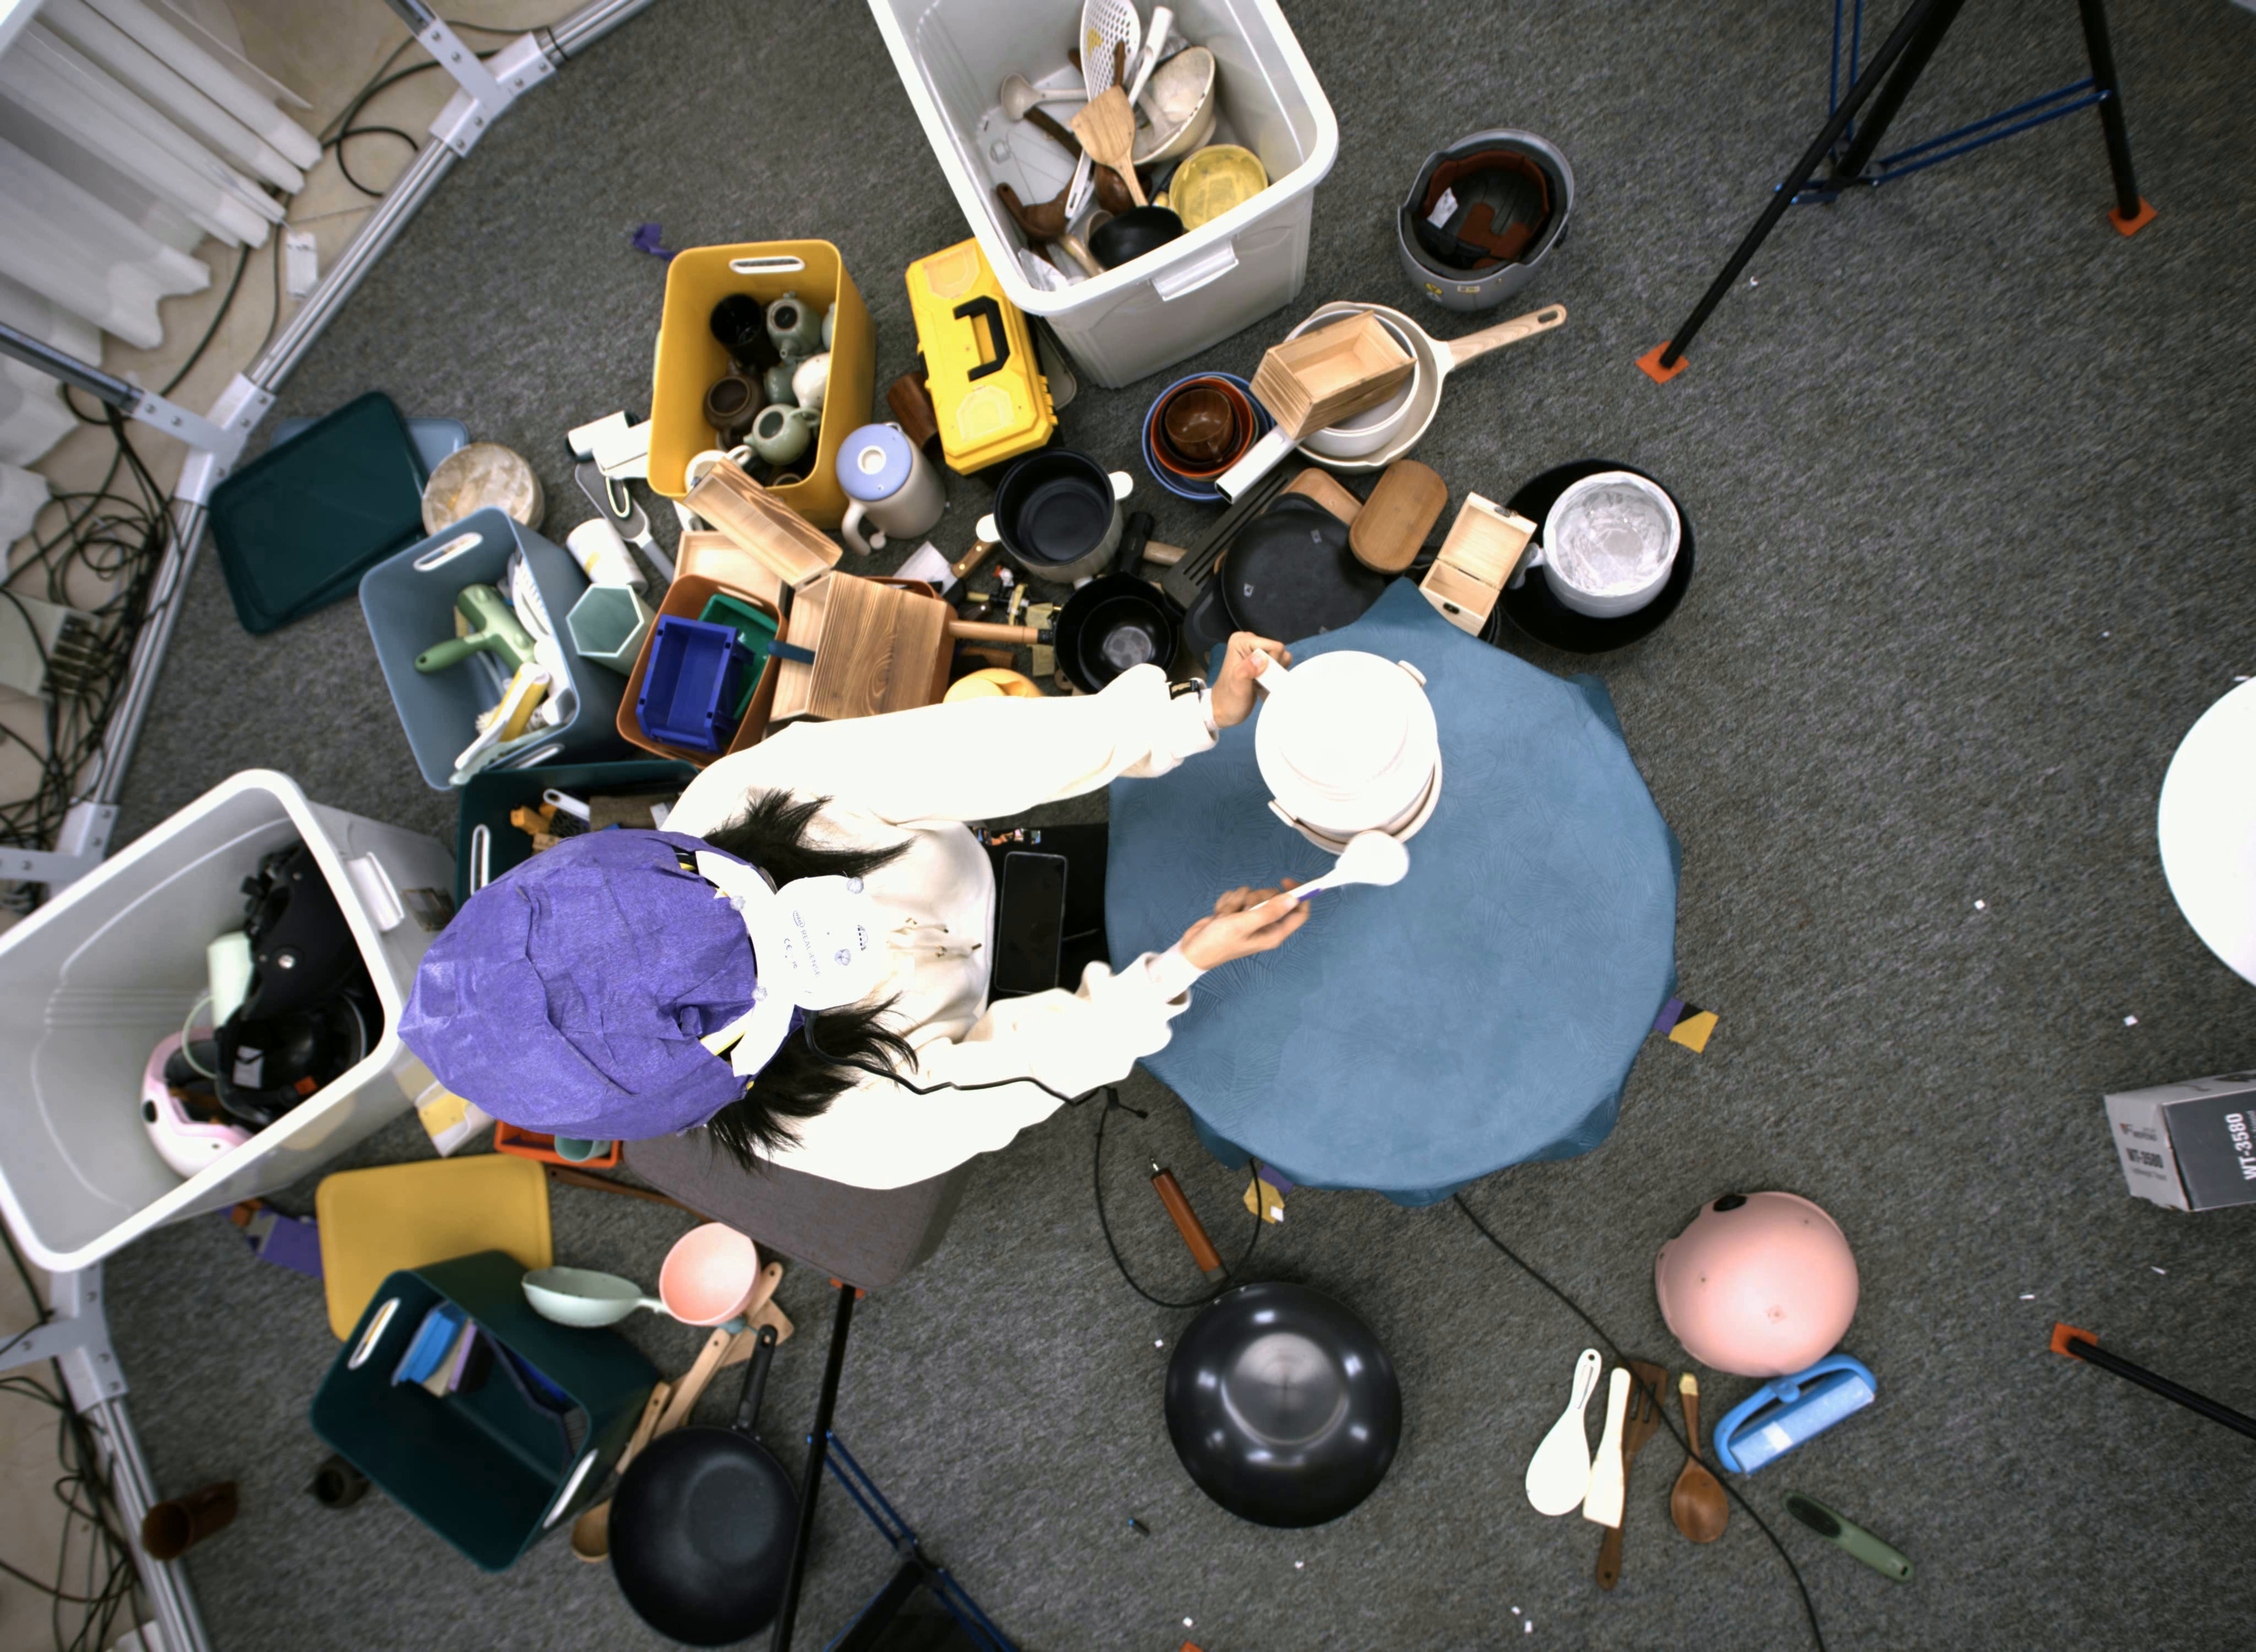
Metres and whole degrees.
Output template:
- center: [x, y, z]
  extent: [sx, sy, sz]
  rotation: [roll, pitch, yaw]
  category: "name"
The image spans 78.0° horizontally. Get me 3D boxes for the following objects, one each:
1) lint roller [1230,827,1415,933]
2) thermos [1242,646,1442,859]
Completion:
- center: [0.178, 0.062, 1.260]
  extent: [0.182, 0.133, 0.050]
  rotation: [-34, 79, 11]
  category: "lint roller"
- center: [0.197, -0.075, 1.279]
  extent: [0.206, 0.406, 0.176]
  rotation: [43, 94, 12]
  category: "thermos"
